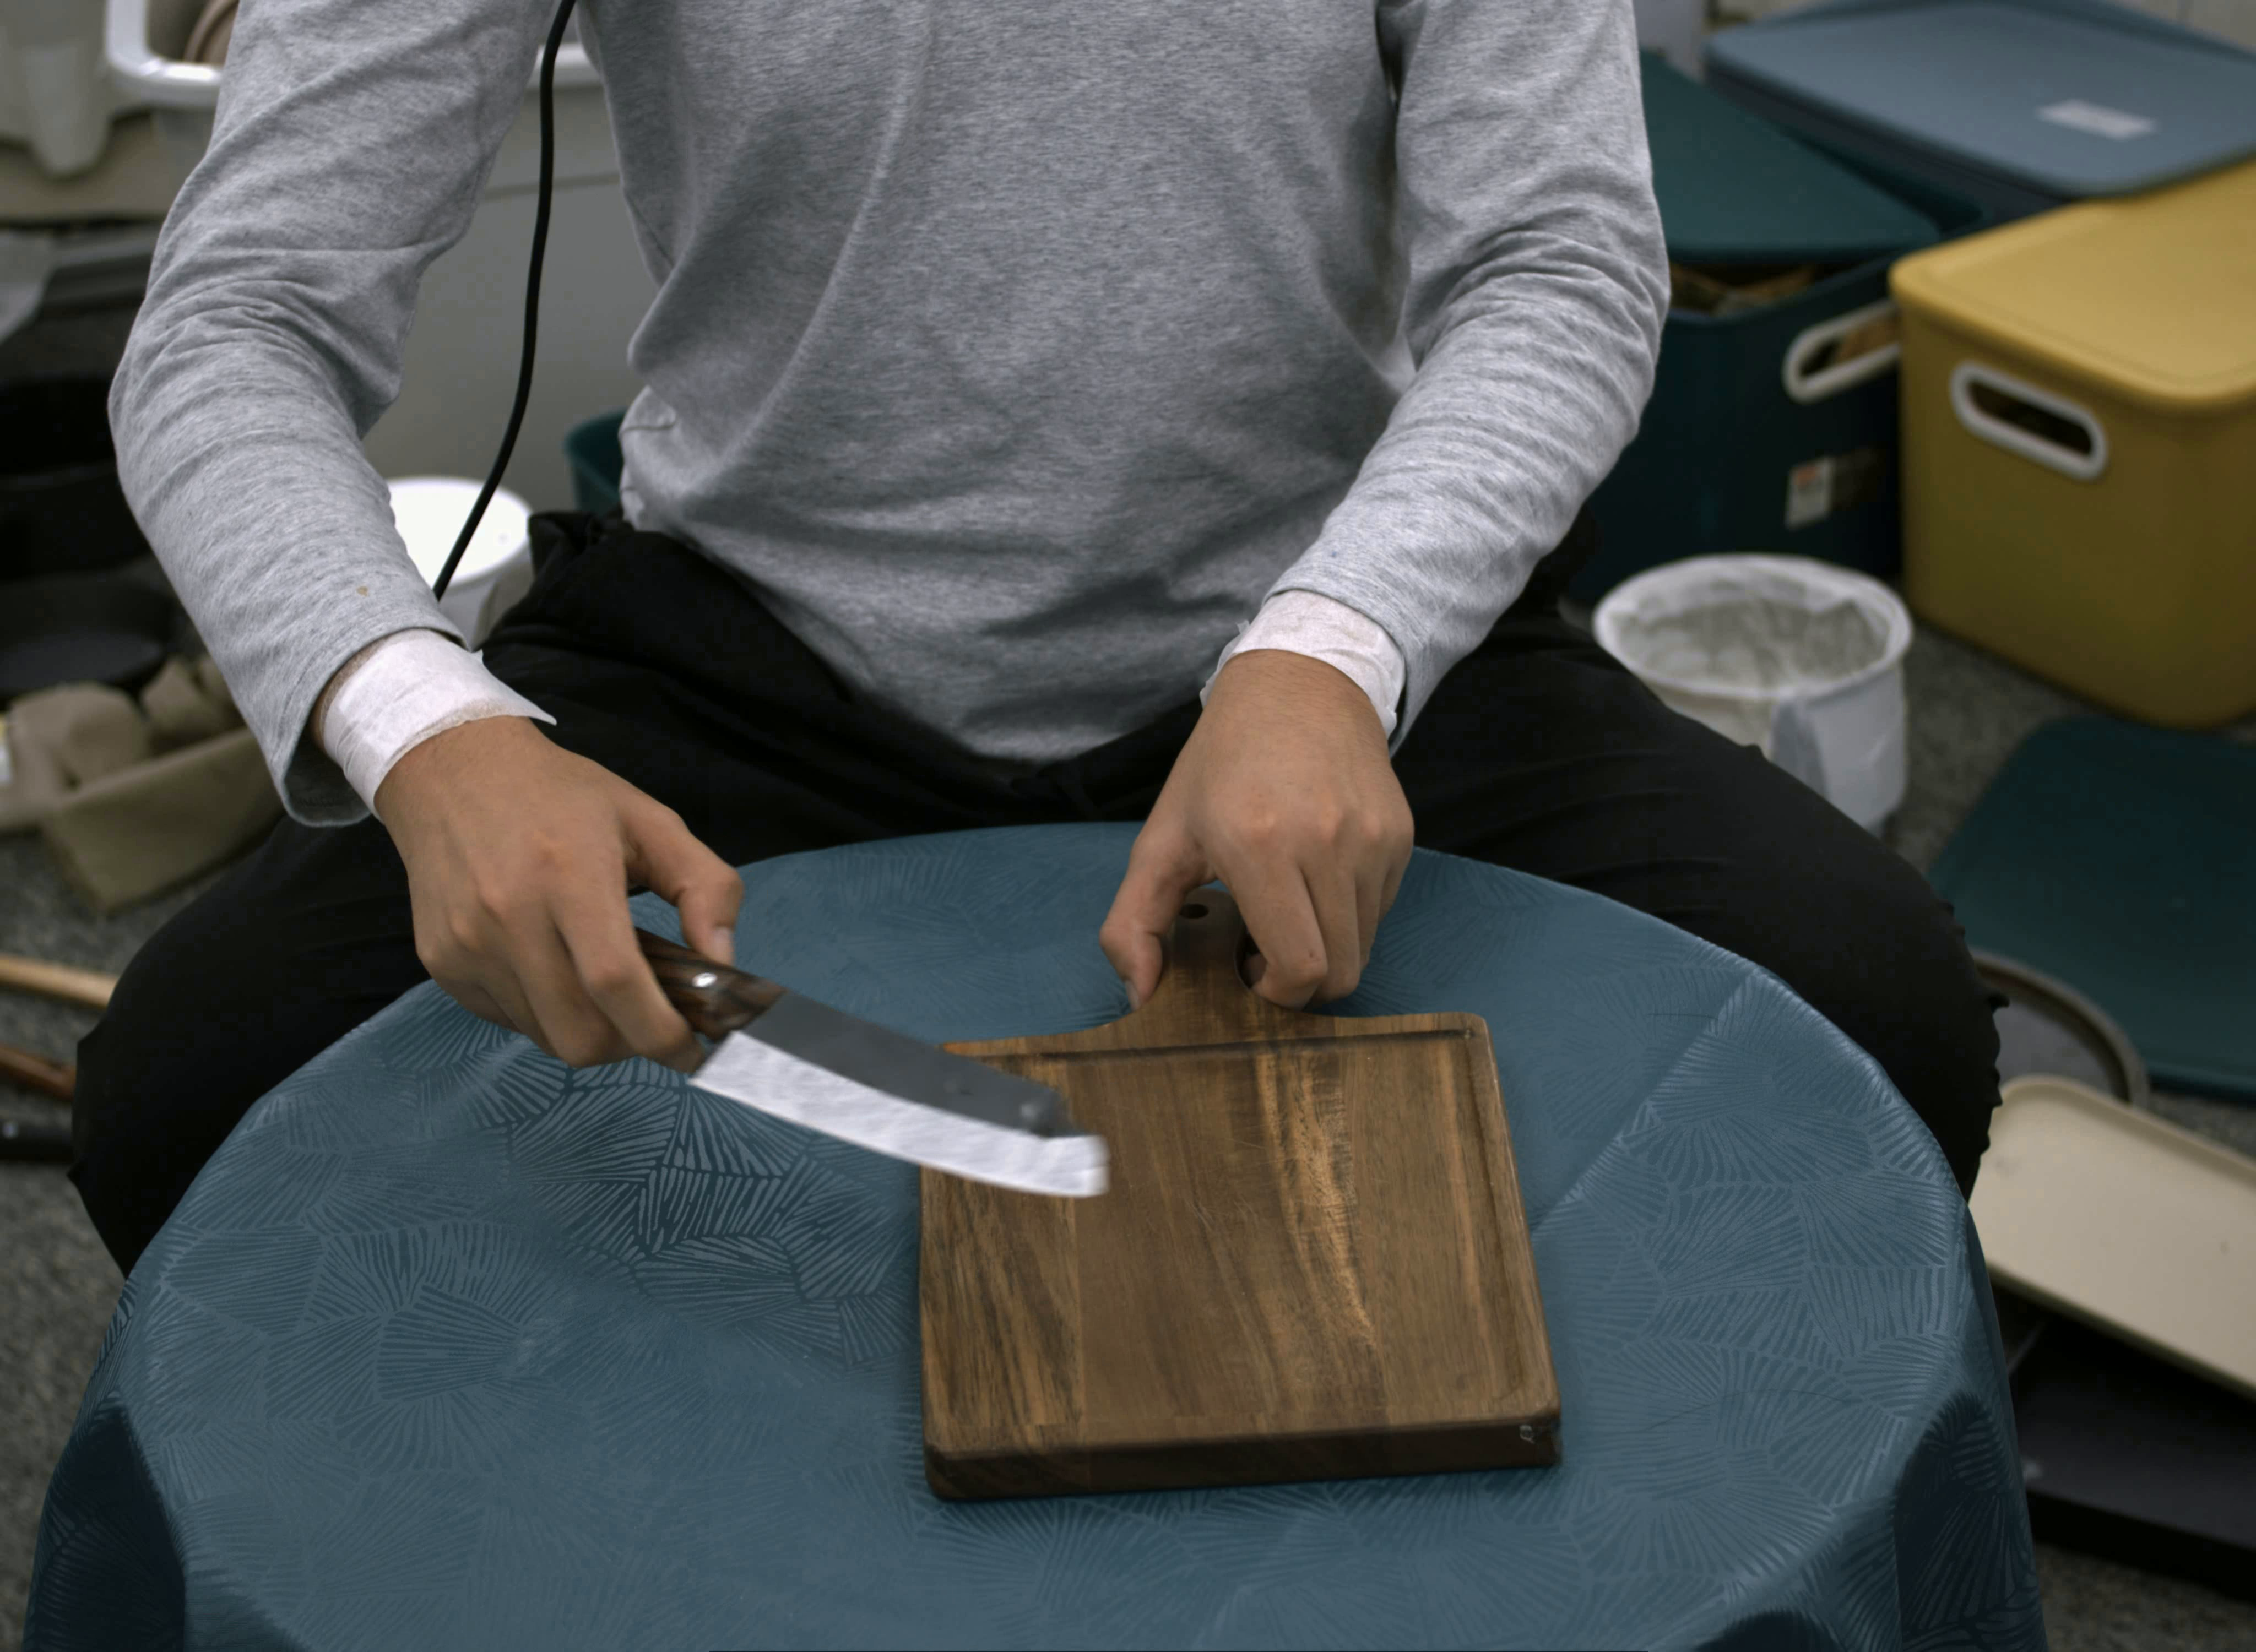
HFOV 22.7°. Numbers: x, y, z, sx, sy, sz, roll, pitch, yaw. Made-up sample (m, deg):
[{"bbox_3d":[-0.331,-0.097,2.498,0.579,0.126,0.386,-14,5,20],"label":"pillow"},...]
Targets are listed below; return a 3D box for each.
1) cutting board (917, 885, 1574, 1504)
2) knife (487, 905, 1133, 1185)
[{"bbox_3d":[0.030,0.111,1.857,0.200,0.023,0.357,-3,27,-1],"label":"cutting board"},{"bbox_3d":[-0.104,0.070,1.782,0.288,0.020,0.051,18,57,39],"label":"knife"}]
